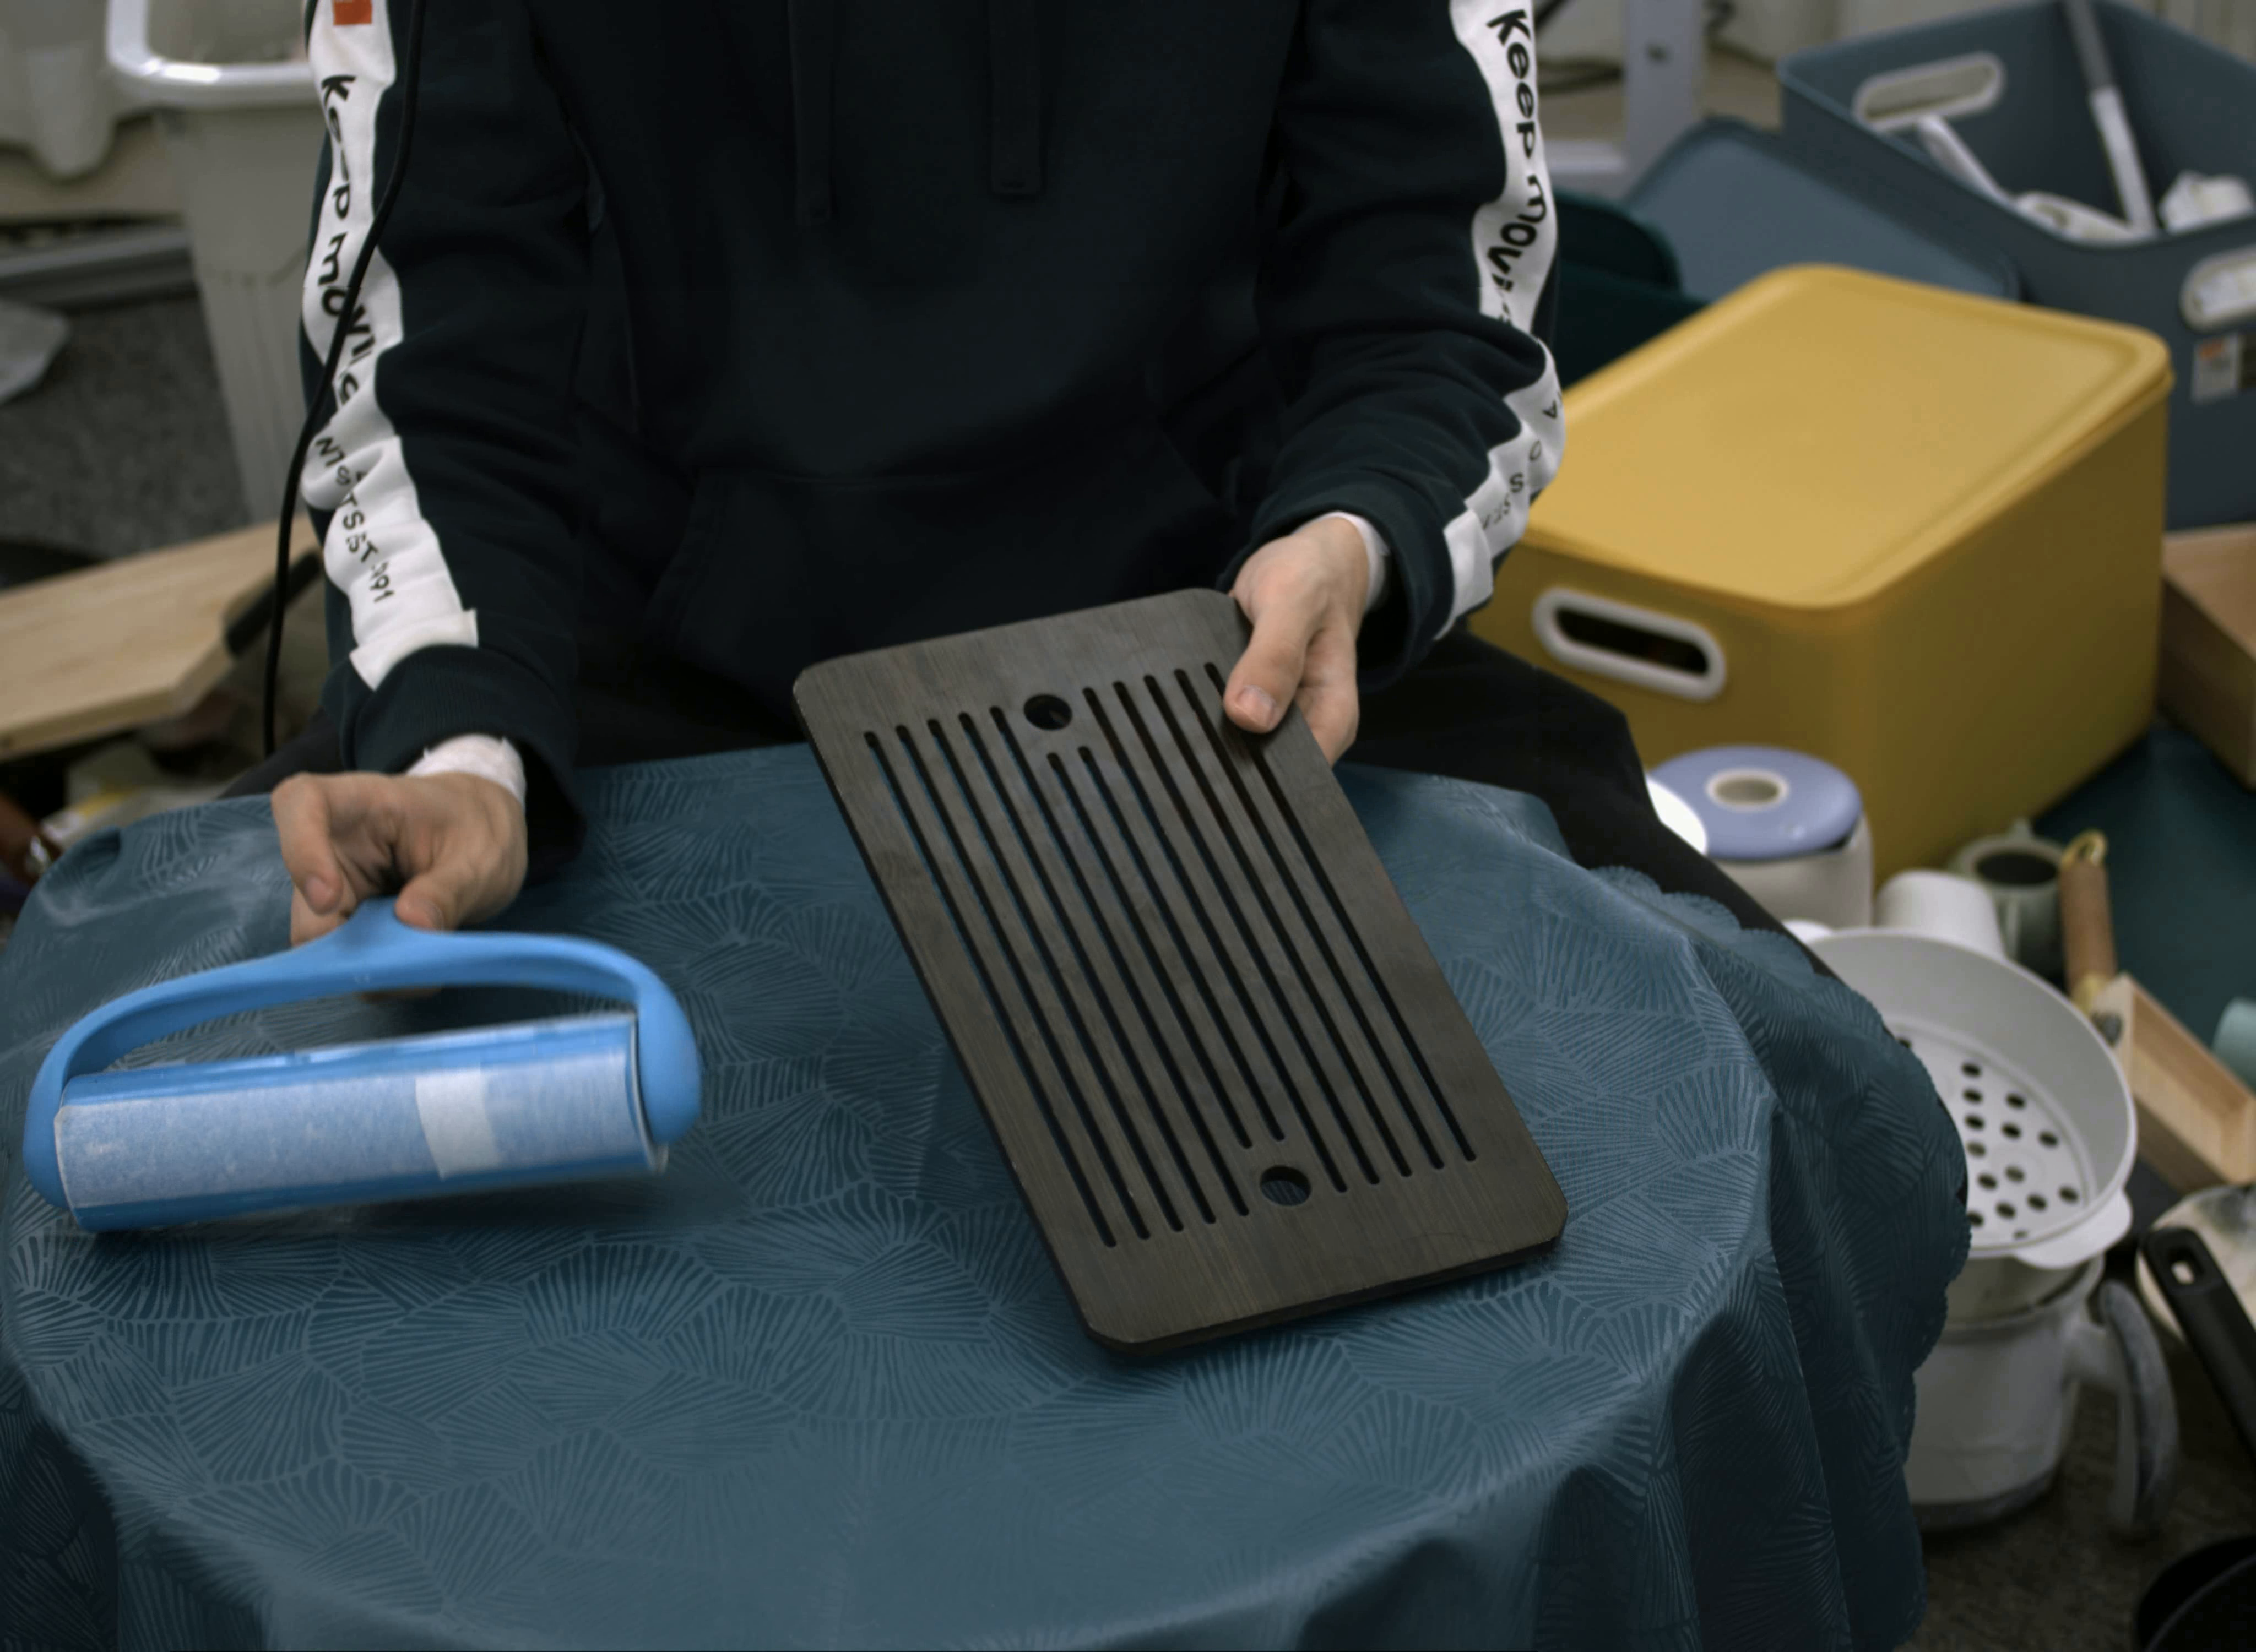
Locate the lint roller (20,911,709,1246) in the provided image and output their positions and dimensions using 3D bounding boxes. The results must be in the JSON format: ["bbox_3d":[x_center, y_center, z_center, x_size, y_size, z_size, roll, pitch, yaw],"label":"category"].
[{"bbox_3d":[-0.254,0.068,1.901,0.228,0.067,0.183,-8,33,1],"label":"lint roller"}]

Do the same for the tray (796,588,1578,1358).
[{"bbox_3d":[0.015,0.044,1.878,0.170,0.018,0.310,-12,50,-19],"label":"tray"}]
